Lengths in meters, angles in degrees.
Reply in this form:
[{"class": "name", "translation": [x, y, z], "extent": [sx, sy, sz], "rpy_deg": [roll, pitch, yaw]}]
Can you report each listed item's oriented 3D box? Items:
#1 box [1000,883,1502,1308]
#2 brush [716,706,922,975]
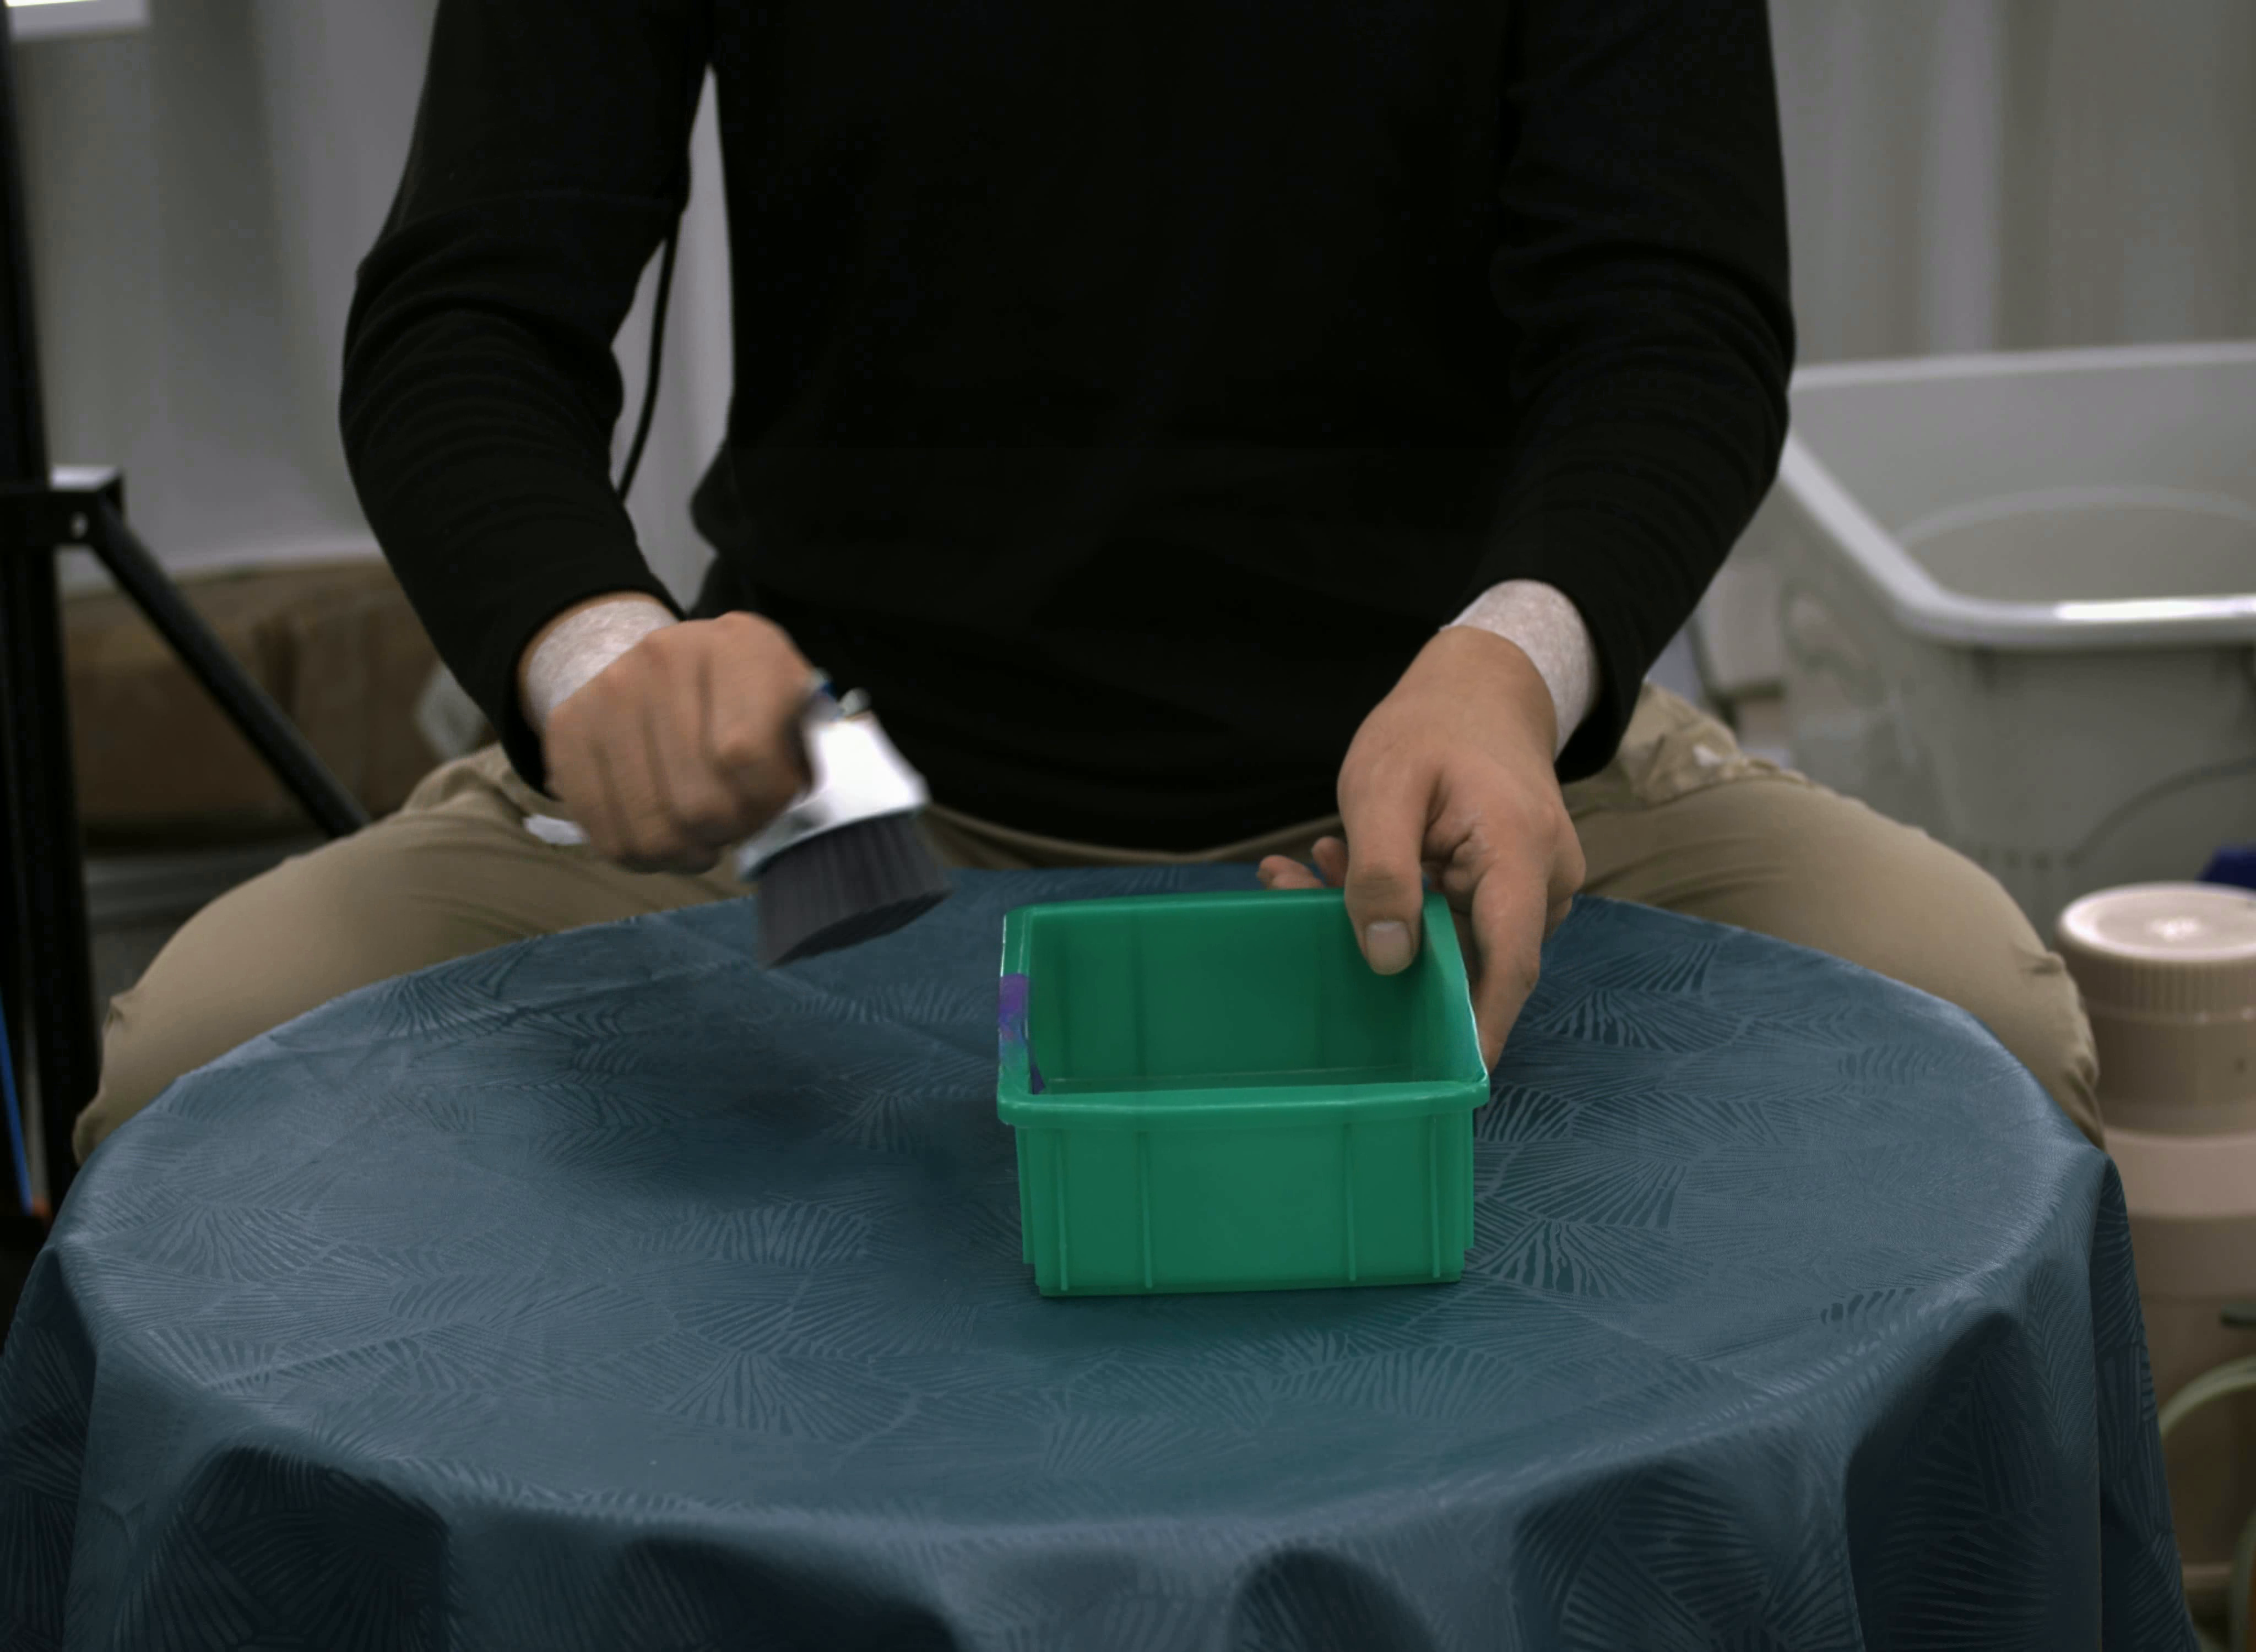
[{"class": "box", "translation": [0.033, 0.077, 1.546], "extent": [0.138, 0.065, 0.211], "rpy_deg": [-5, 17, 0]}, {"class": "brush", "translation": [-0.099, 0.001, 1.612], "extent": [0.049, 0.073, 0.100], "rpy_deg": [-15, -6, -15]}]
